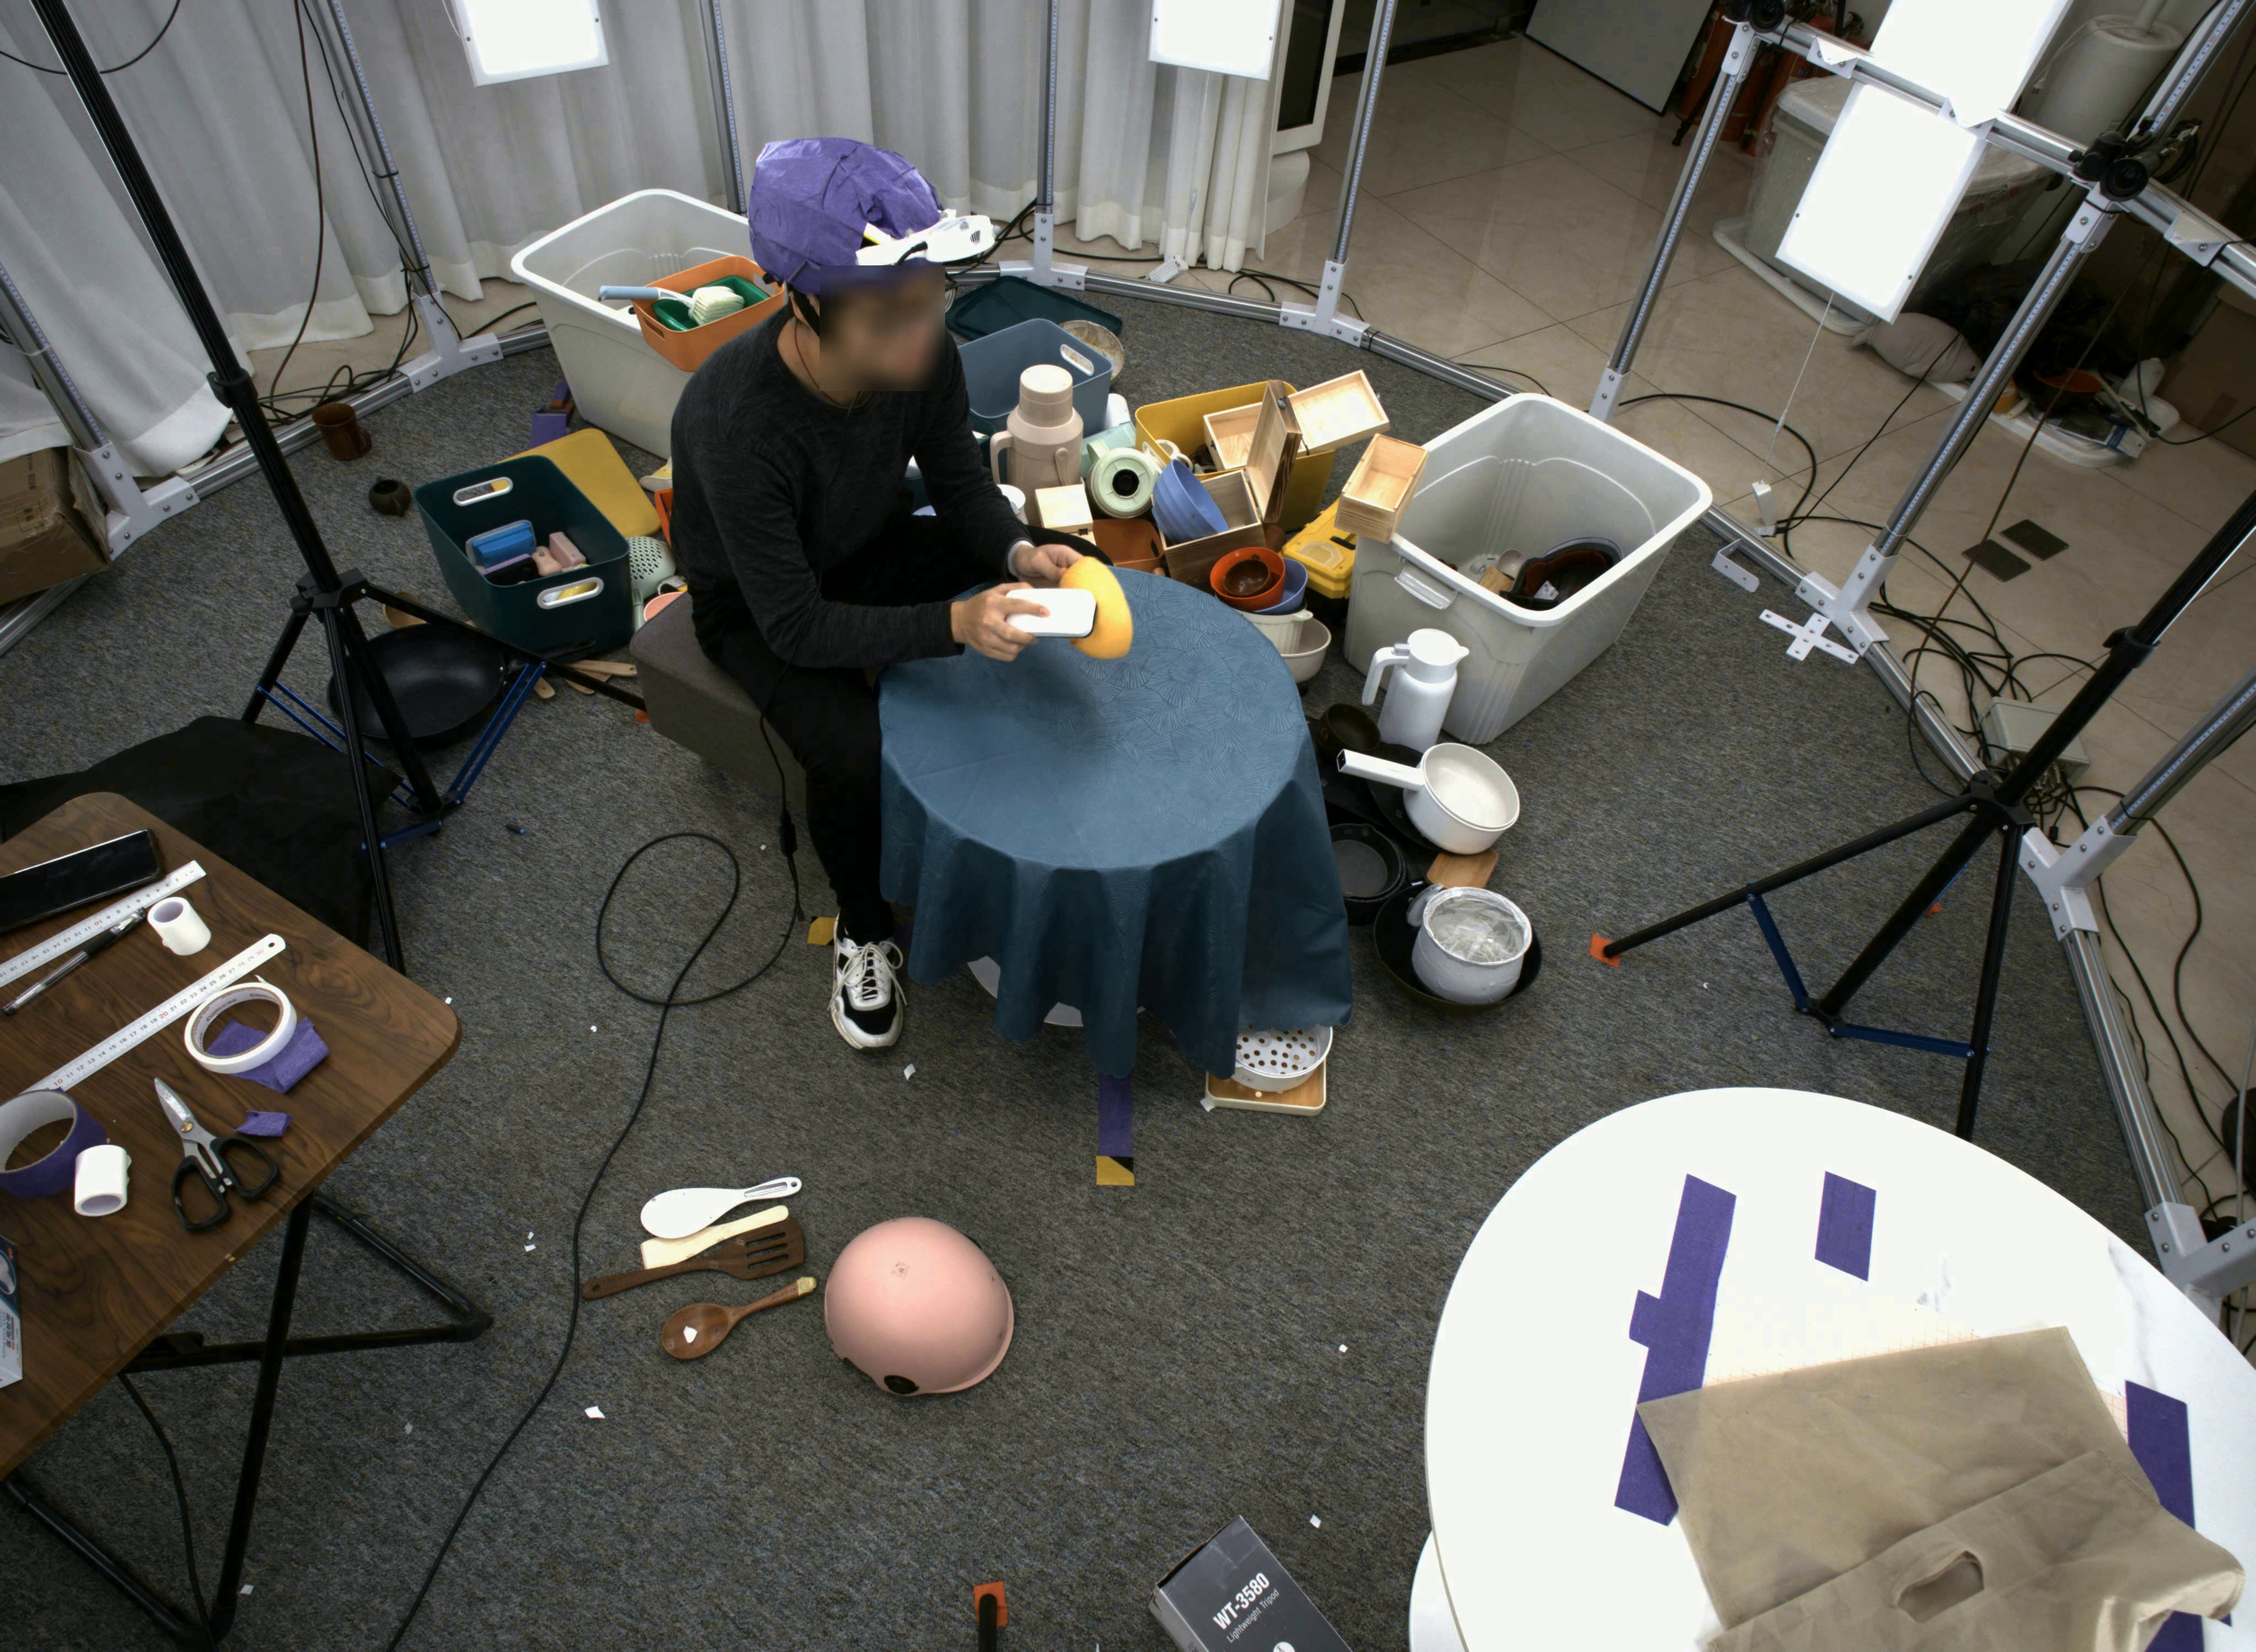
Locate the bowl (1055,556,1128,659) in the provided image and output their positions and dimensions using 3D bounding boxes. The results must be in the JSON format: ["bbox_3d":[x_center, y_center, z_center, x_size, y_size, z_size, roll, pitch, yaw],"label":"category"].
[{"bbox_3d":[-0.062,-0.286,1.740,0.060,0.142,0.148,-24,56,-23],"label":"bowl"}]

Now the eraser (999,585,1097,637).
[{"bbox_3d":[-0.106,-0.281,1.688,0.132,0.034,0.064,4,76,23],"label":"eraser"}]
